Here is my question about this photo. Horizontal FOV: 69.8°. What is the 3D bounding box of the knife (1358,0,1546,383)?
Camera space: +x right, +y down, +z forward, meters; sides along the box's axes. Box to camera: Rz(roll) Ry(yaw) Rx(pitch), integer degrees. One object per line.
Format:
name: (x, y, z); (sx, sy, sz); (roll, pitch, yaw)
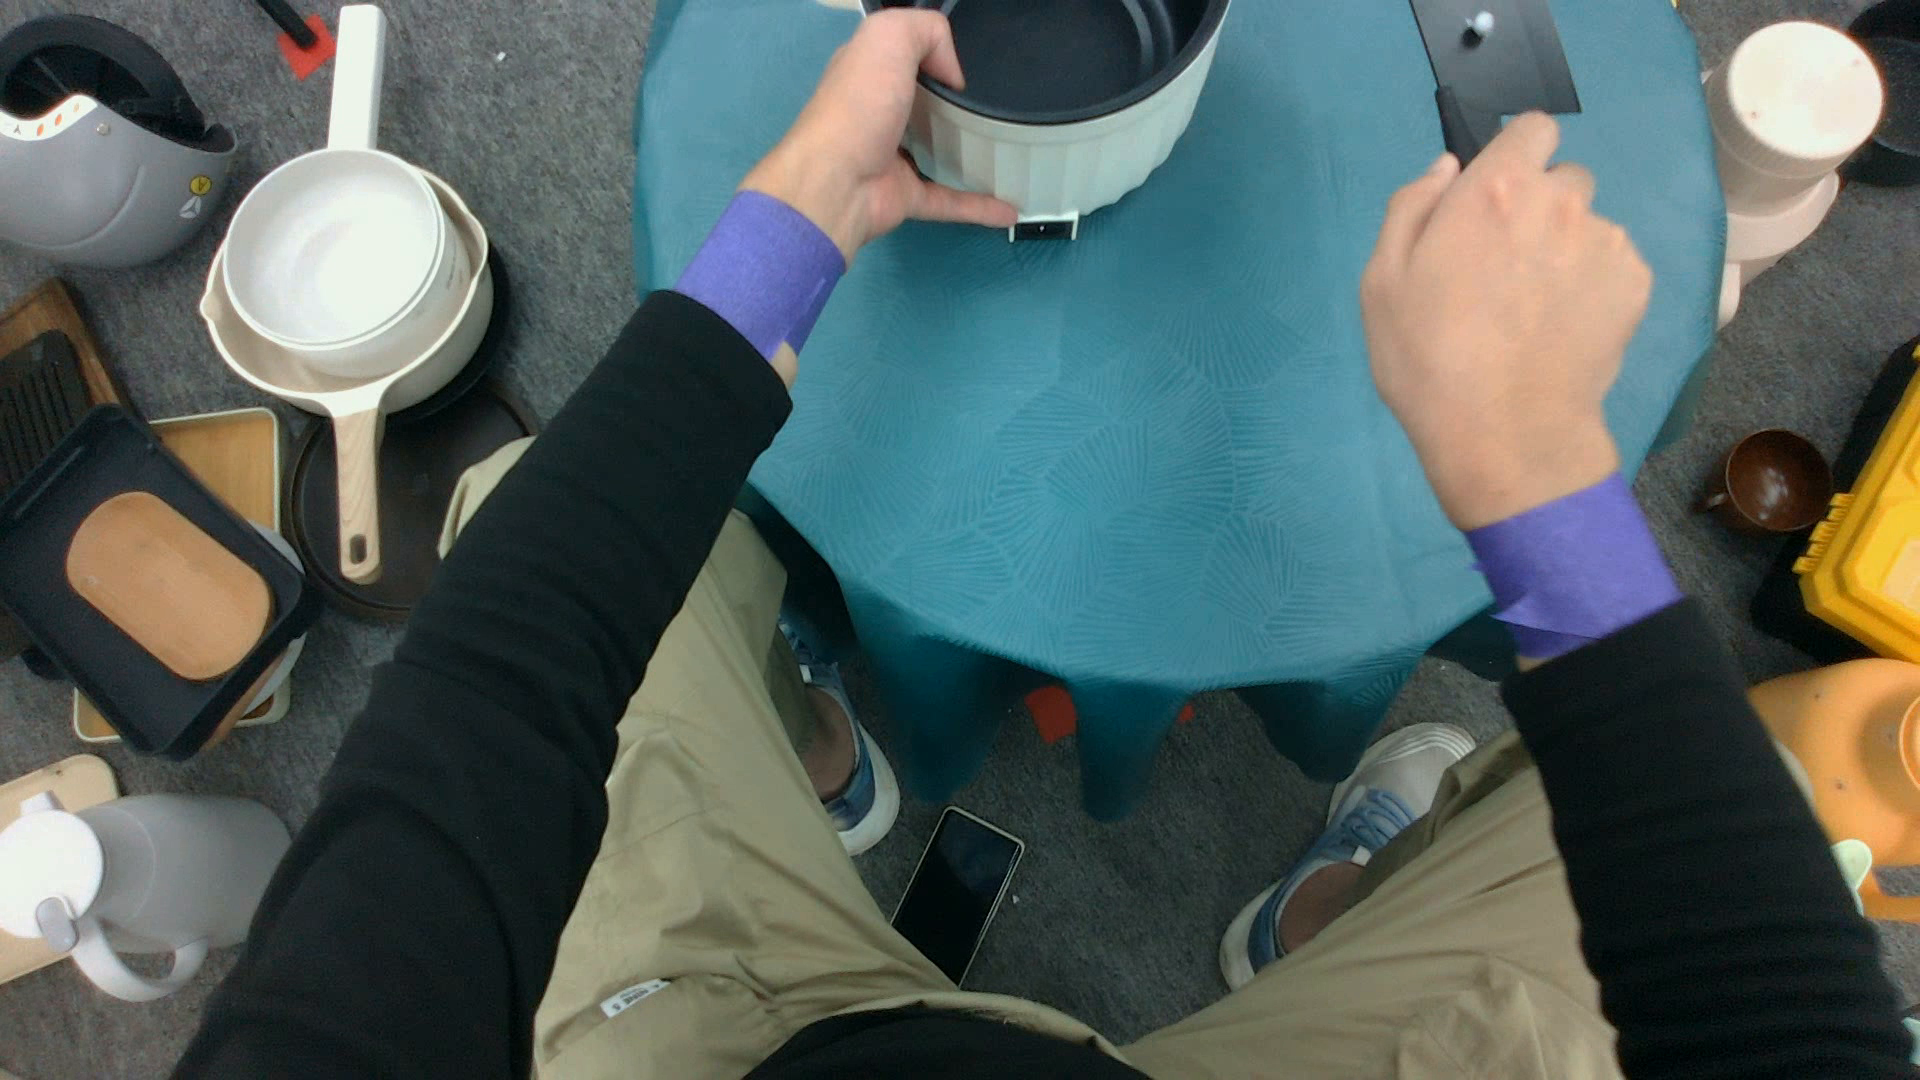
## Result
knife: (0.201, -0.206, 0.576); (0.081, 0.021, 0.303); (0, 72, -14)

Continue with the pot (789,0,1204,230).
pot: (0.029, -0.275, 0.721); (0.240, 0.142, 0.191); (-3, 80, -1)
